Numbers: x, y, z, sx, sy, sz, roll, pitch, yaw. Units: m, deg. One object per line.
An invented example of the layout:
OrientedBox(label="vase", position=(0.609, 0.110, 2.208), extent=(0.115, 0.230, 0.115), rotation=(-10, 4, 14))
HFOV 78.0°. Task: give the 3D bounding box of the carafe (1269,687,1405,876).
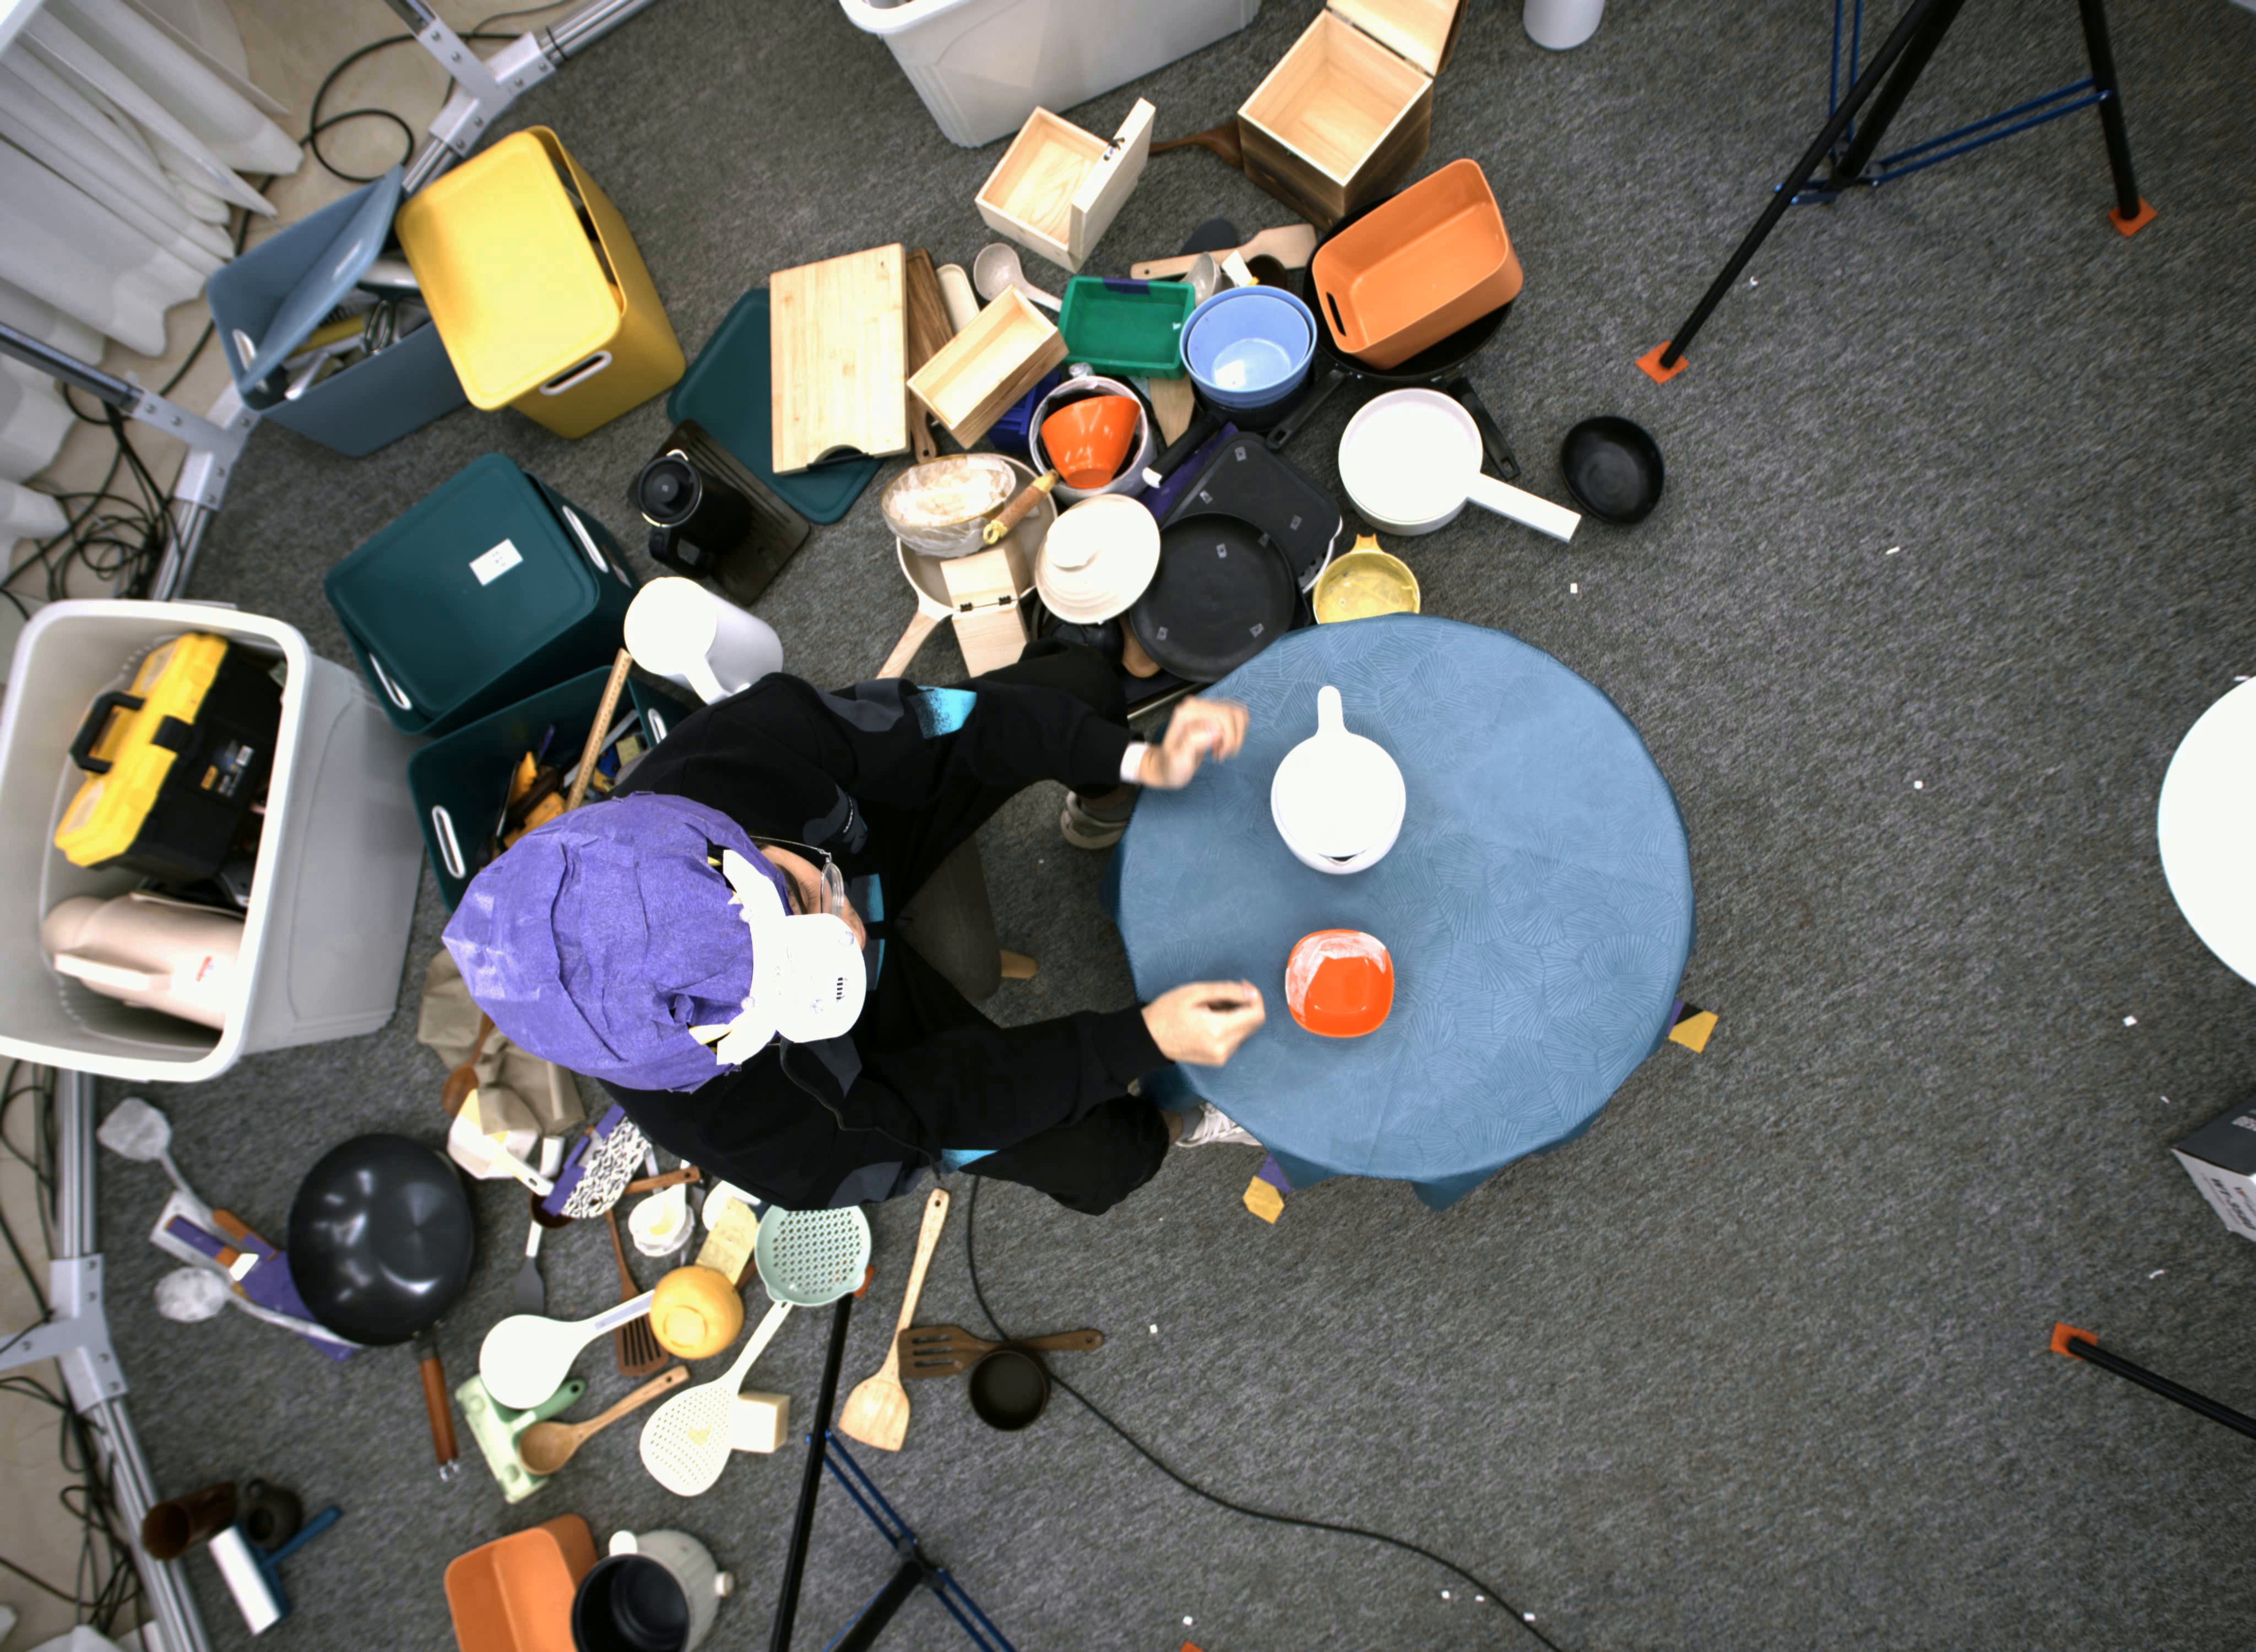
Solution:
OrientedBox(label="carafe", position=(0.207, -0.046, 1.387), extent=(0.133, 0.183, 0.189), rotation=(-7, 82, 8))

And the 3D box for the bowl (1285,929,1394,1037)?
OrientedBox(label="bowl", position=(0.218, 0.161, 1.433), extent=(0.119, 0.051, 0.118), rotation=(0, 88, 8))
